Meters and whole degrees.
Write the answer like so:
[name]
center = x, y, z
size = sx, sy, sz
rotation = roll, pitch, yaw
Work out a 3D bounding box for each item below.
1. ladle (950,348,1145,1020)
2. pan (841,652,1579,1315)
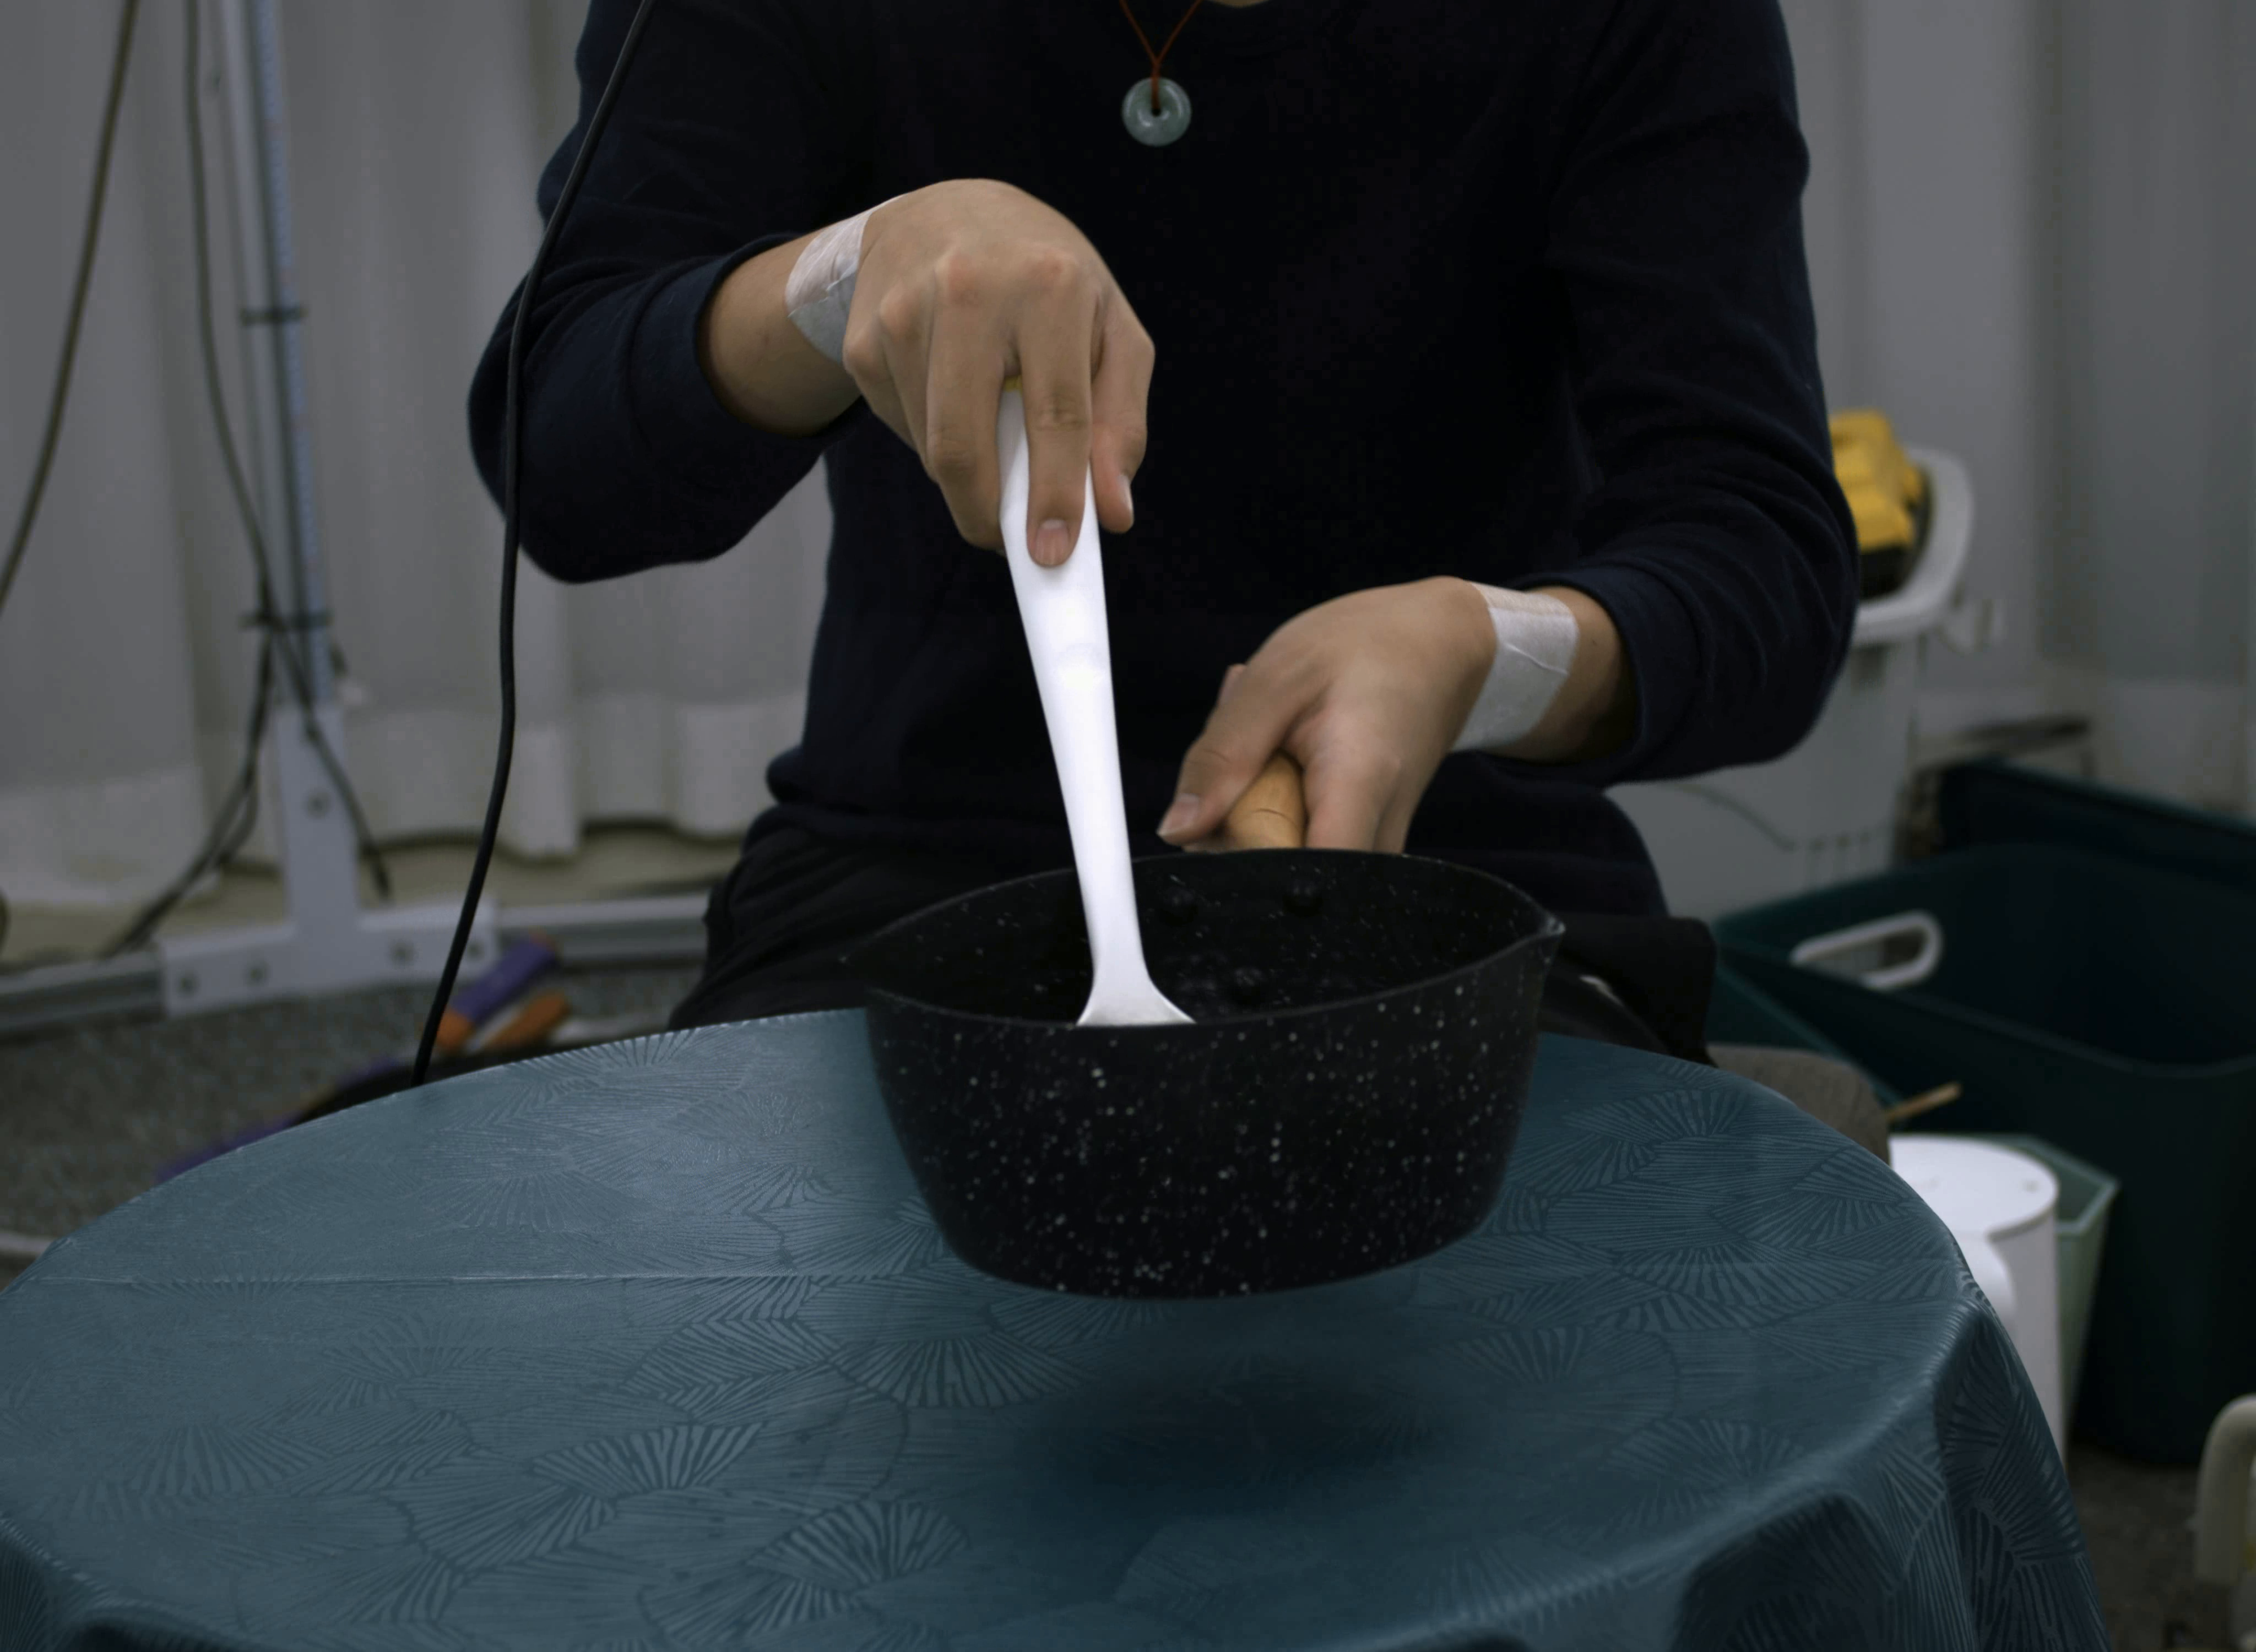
[ladle]
center = -0.016, -0.019, 1.569
size = 0.090, 0.297, 0.069
rotation = -7, -29, -5
[pan]
center = 0.033, 0.040, 1.578
size = 0.207, 0.108, 0.345
rotation = -4, 14, 8
